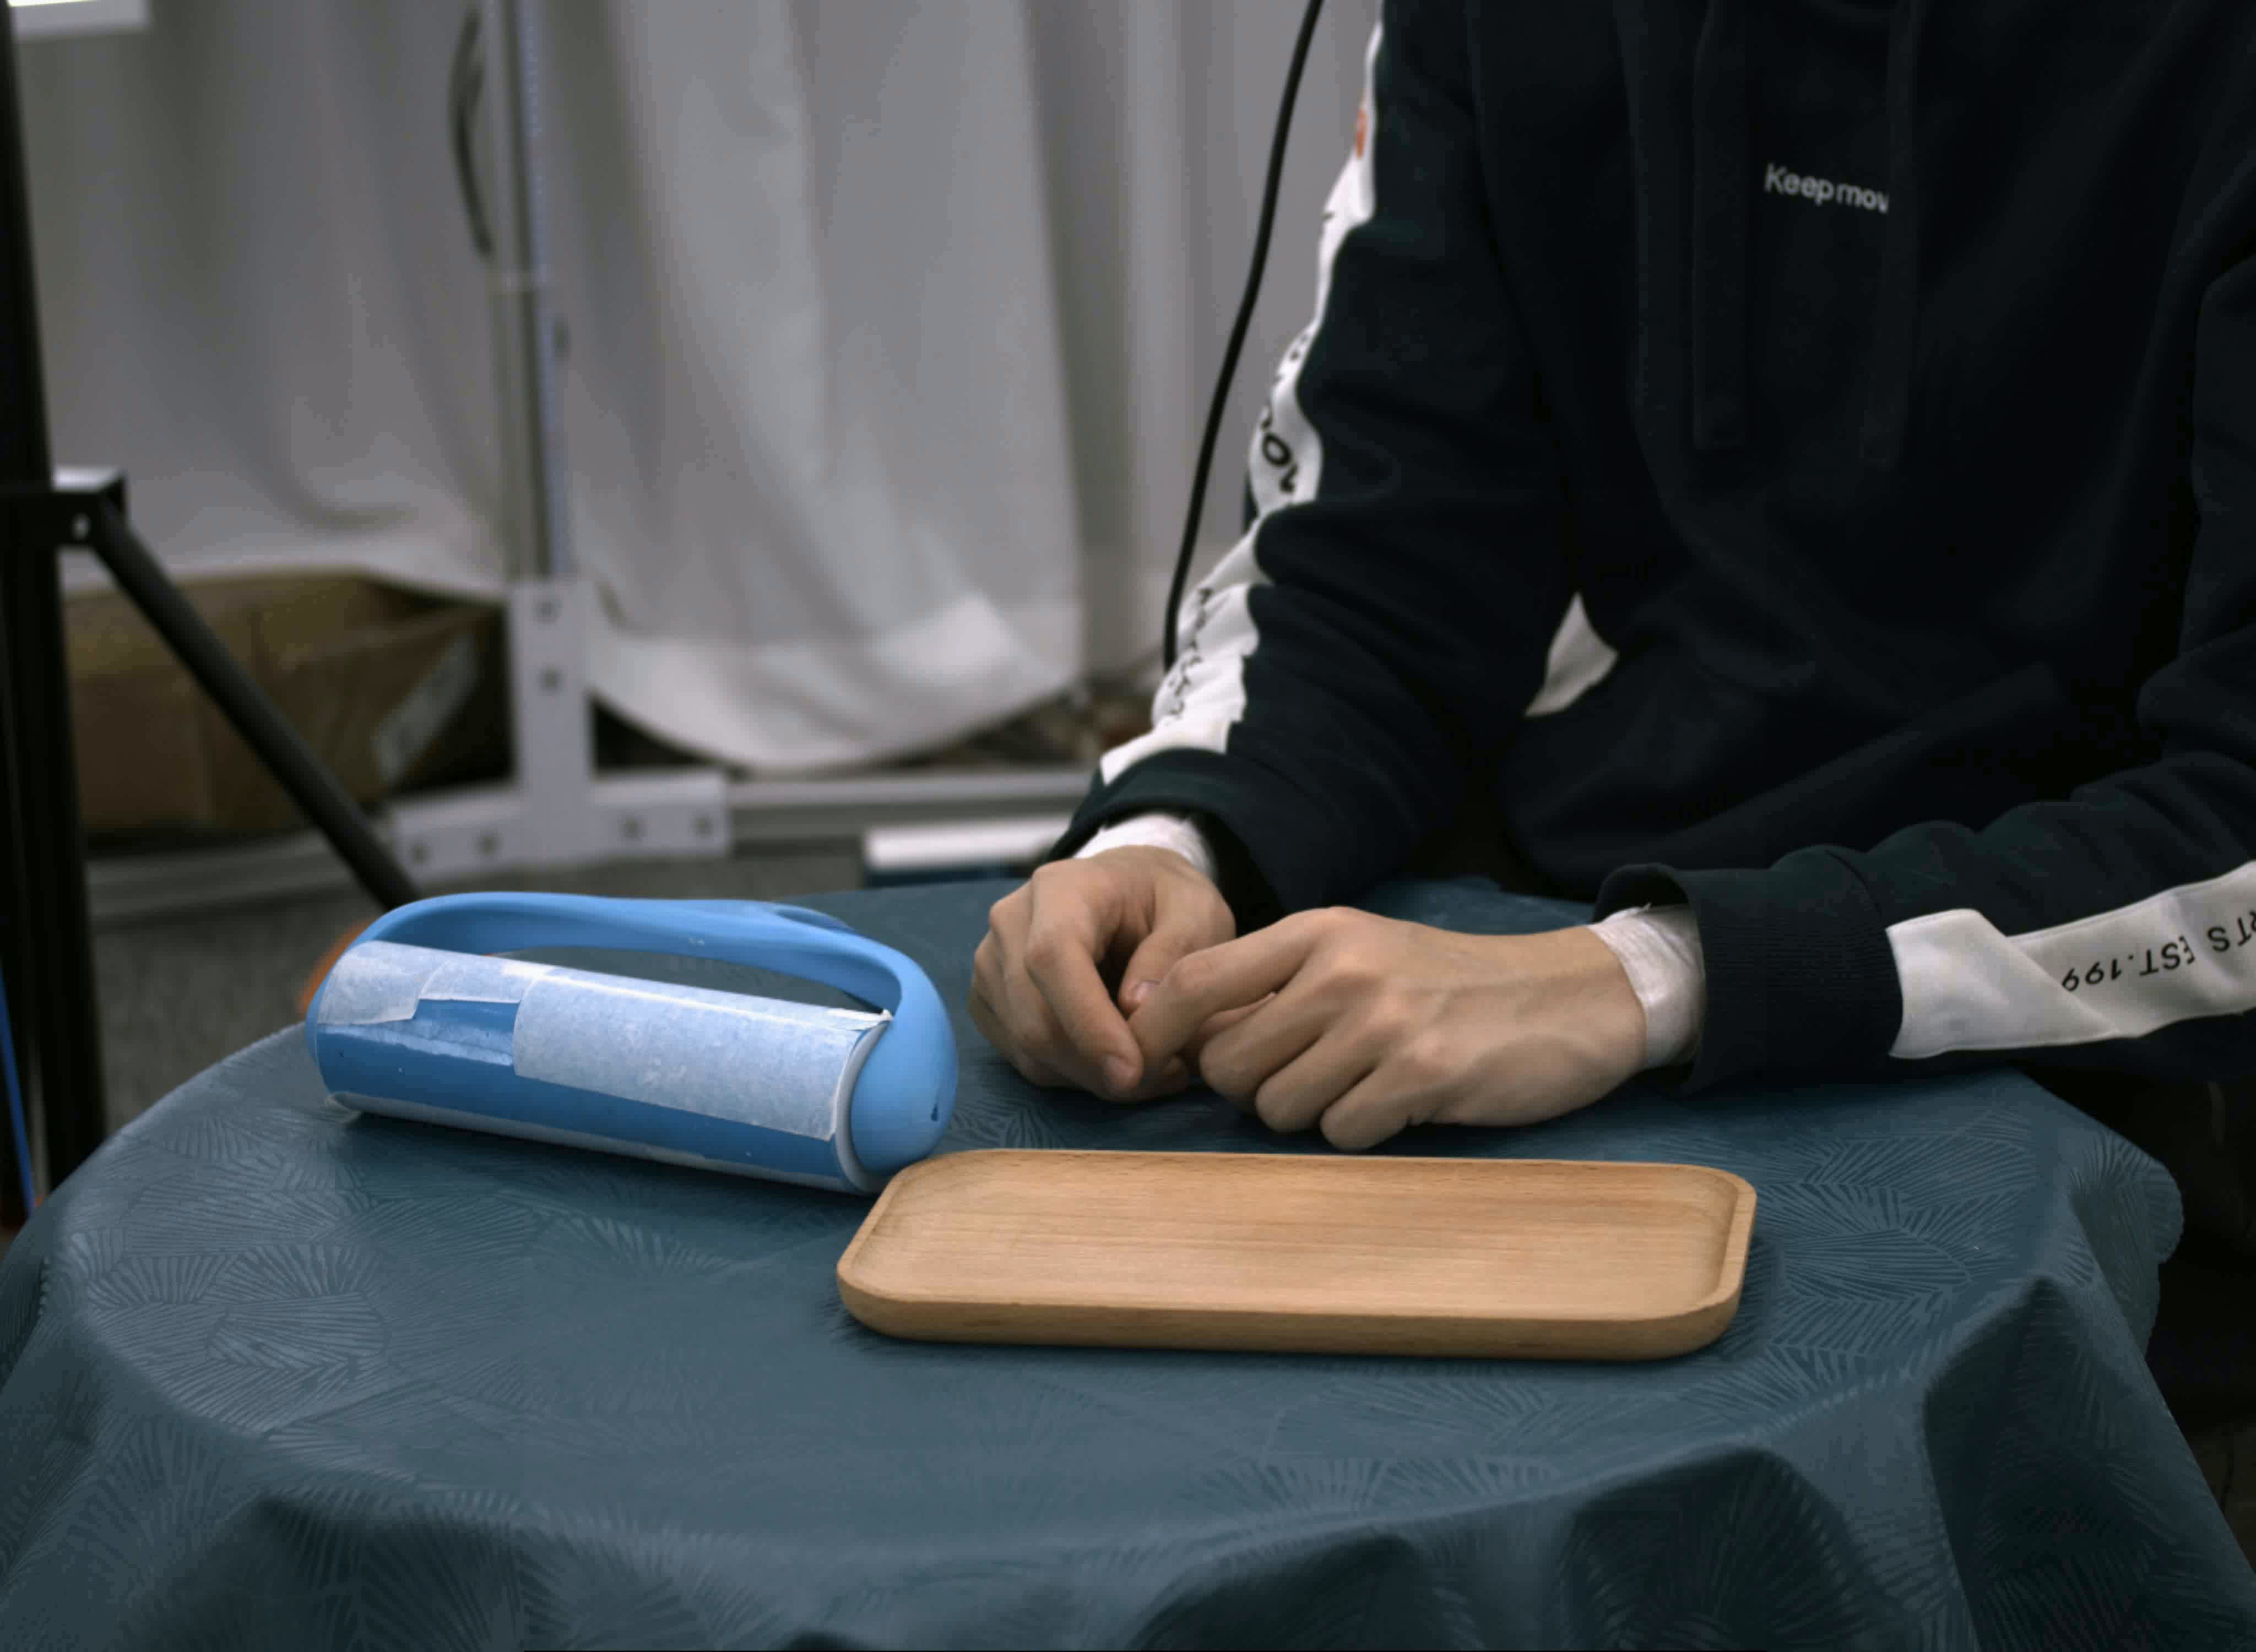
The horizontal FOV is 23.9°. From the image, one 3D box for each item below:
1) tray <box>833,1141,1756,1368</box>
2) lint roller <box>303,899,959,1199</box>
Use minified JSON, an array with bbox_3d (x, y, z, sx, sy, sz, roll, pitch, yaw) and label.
[{"bbox_3d":[0.048,0.119,1.480,0.252,0.023,0.129,1,14,13],"label":"tray"},{"bbox_3d":[-0.126,0.056,1.659,0.233,0.068,0.177,4,18,29],"label":"lint roller"}]
